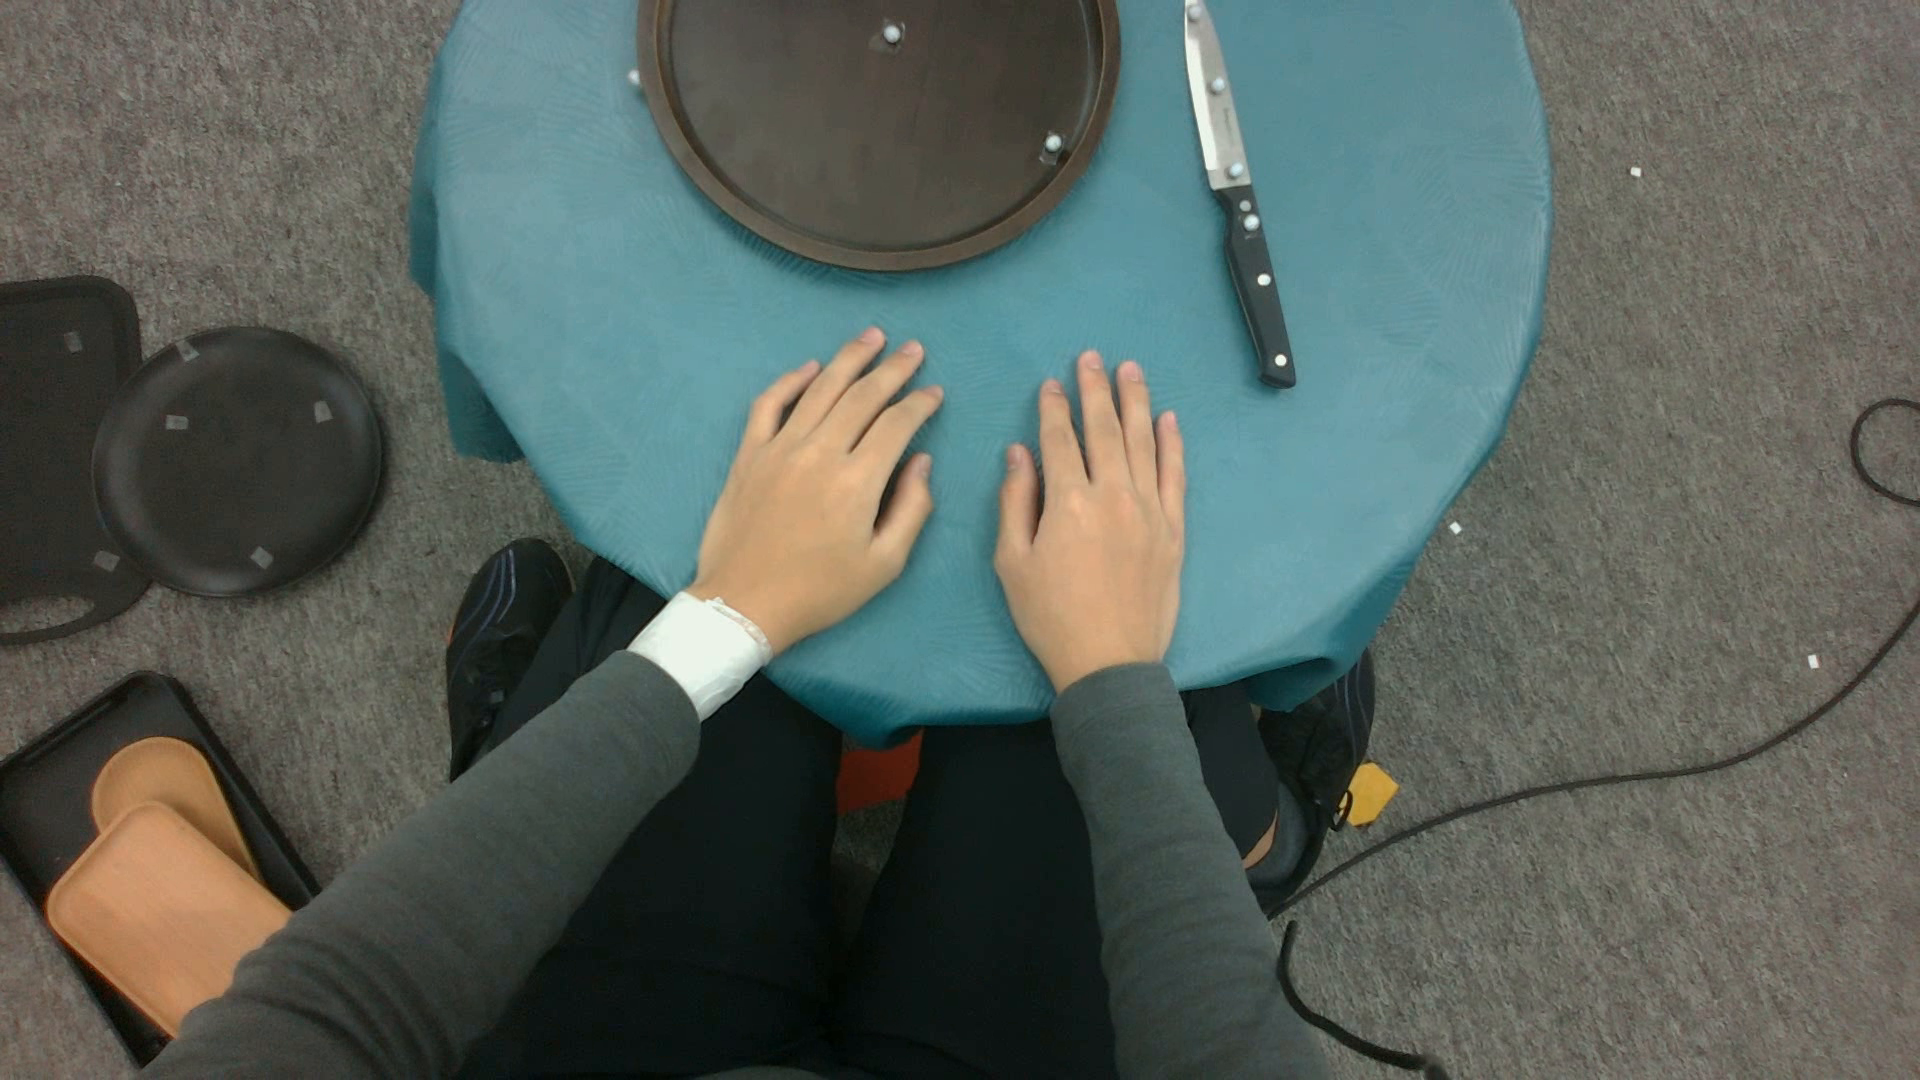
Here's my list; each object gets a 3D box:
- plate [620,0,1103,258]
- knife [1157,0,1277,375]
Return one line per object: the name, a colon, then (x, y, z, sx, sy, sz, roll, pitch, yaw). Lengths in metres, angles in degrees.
plate: (-0.050, -0.268, 0.729, 0.255, 0.029, 0.255, 1, 79, -5)
knife: (0.136, -0.203, 0.742, 0.024, 0.016, 0.238, -9, 79, -9)
